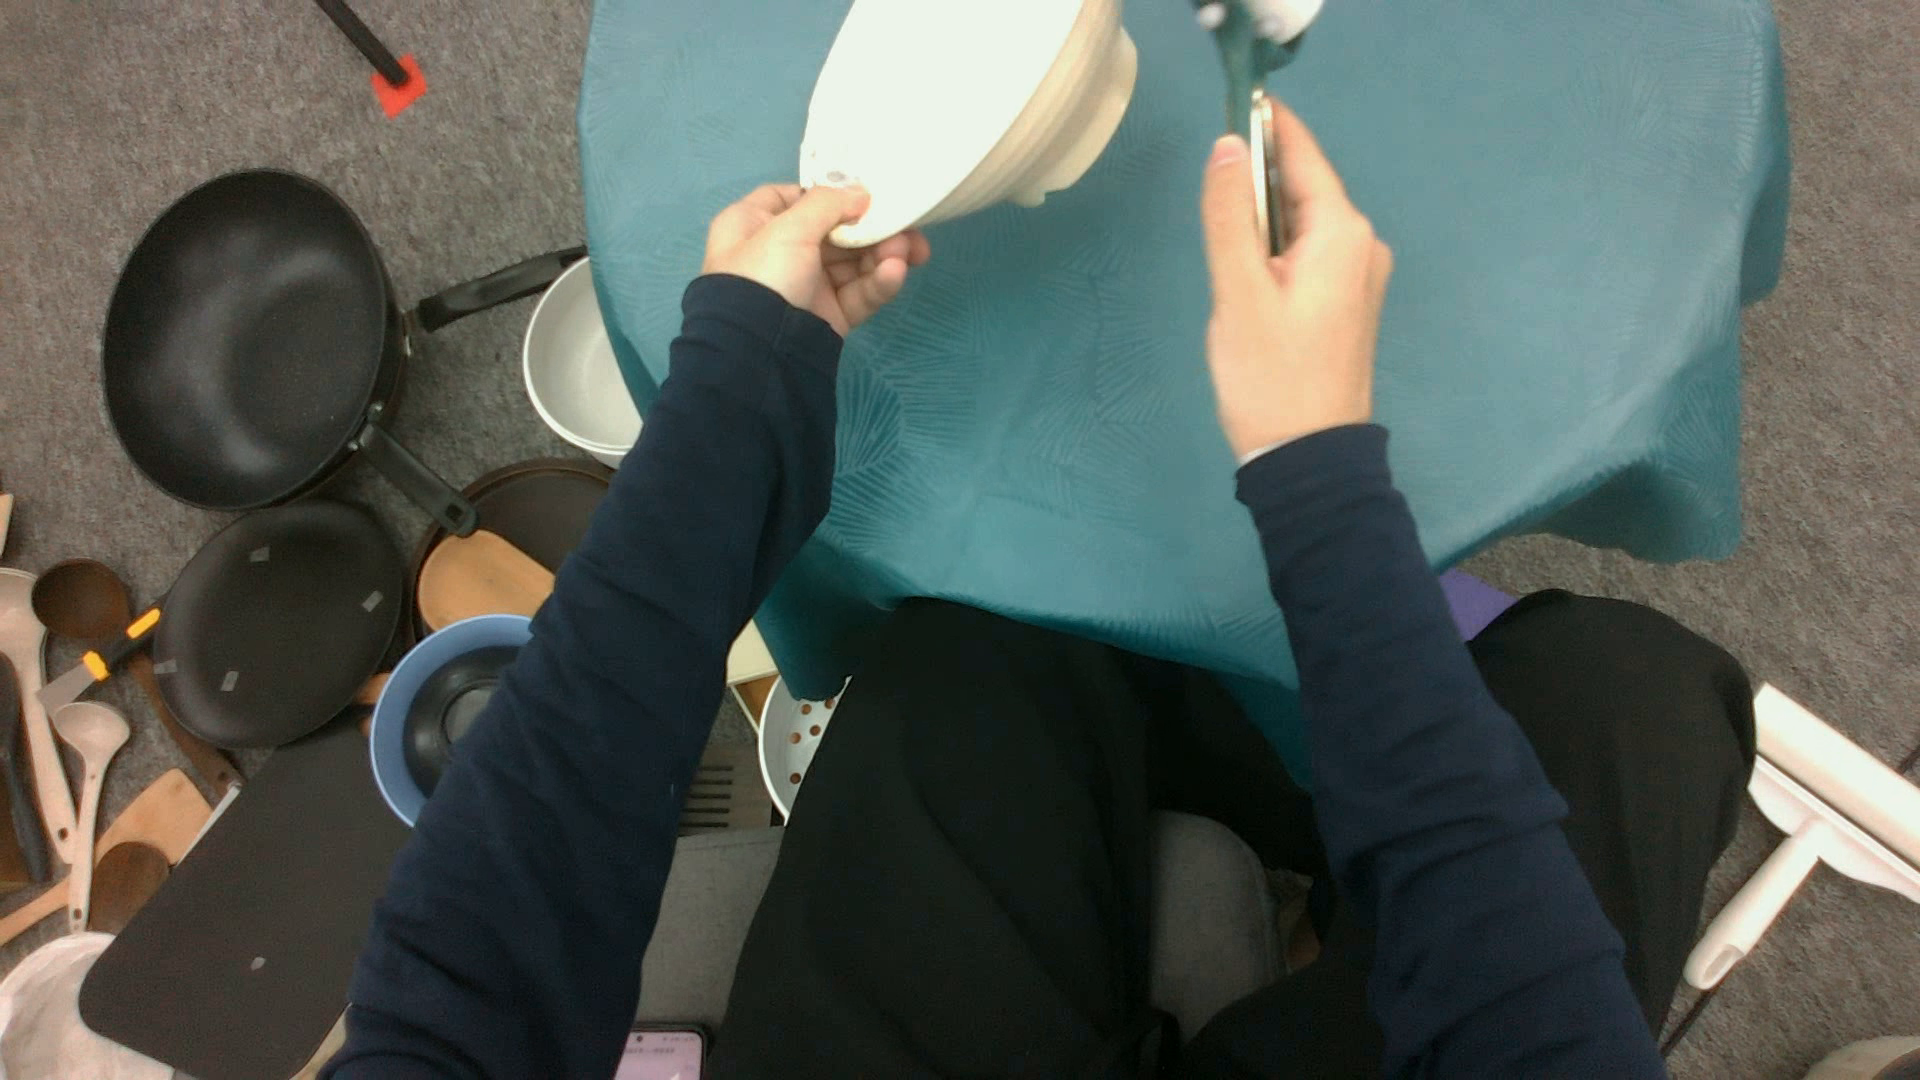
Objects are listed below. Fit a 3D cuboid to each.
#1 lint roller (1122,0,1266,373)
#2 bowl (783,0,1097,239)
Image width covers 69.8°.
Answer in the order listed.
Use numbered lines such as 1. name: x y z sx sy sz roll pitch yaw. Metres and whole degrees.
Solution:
1. lint roller: 0.100 -0.157 0.529 0.048 0.134 0.180 -15 86 24
2. bowl: 0.002 -0.219 0.595 0.078 0.203 0.204 13 72 -31
